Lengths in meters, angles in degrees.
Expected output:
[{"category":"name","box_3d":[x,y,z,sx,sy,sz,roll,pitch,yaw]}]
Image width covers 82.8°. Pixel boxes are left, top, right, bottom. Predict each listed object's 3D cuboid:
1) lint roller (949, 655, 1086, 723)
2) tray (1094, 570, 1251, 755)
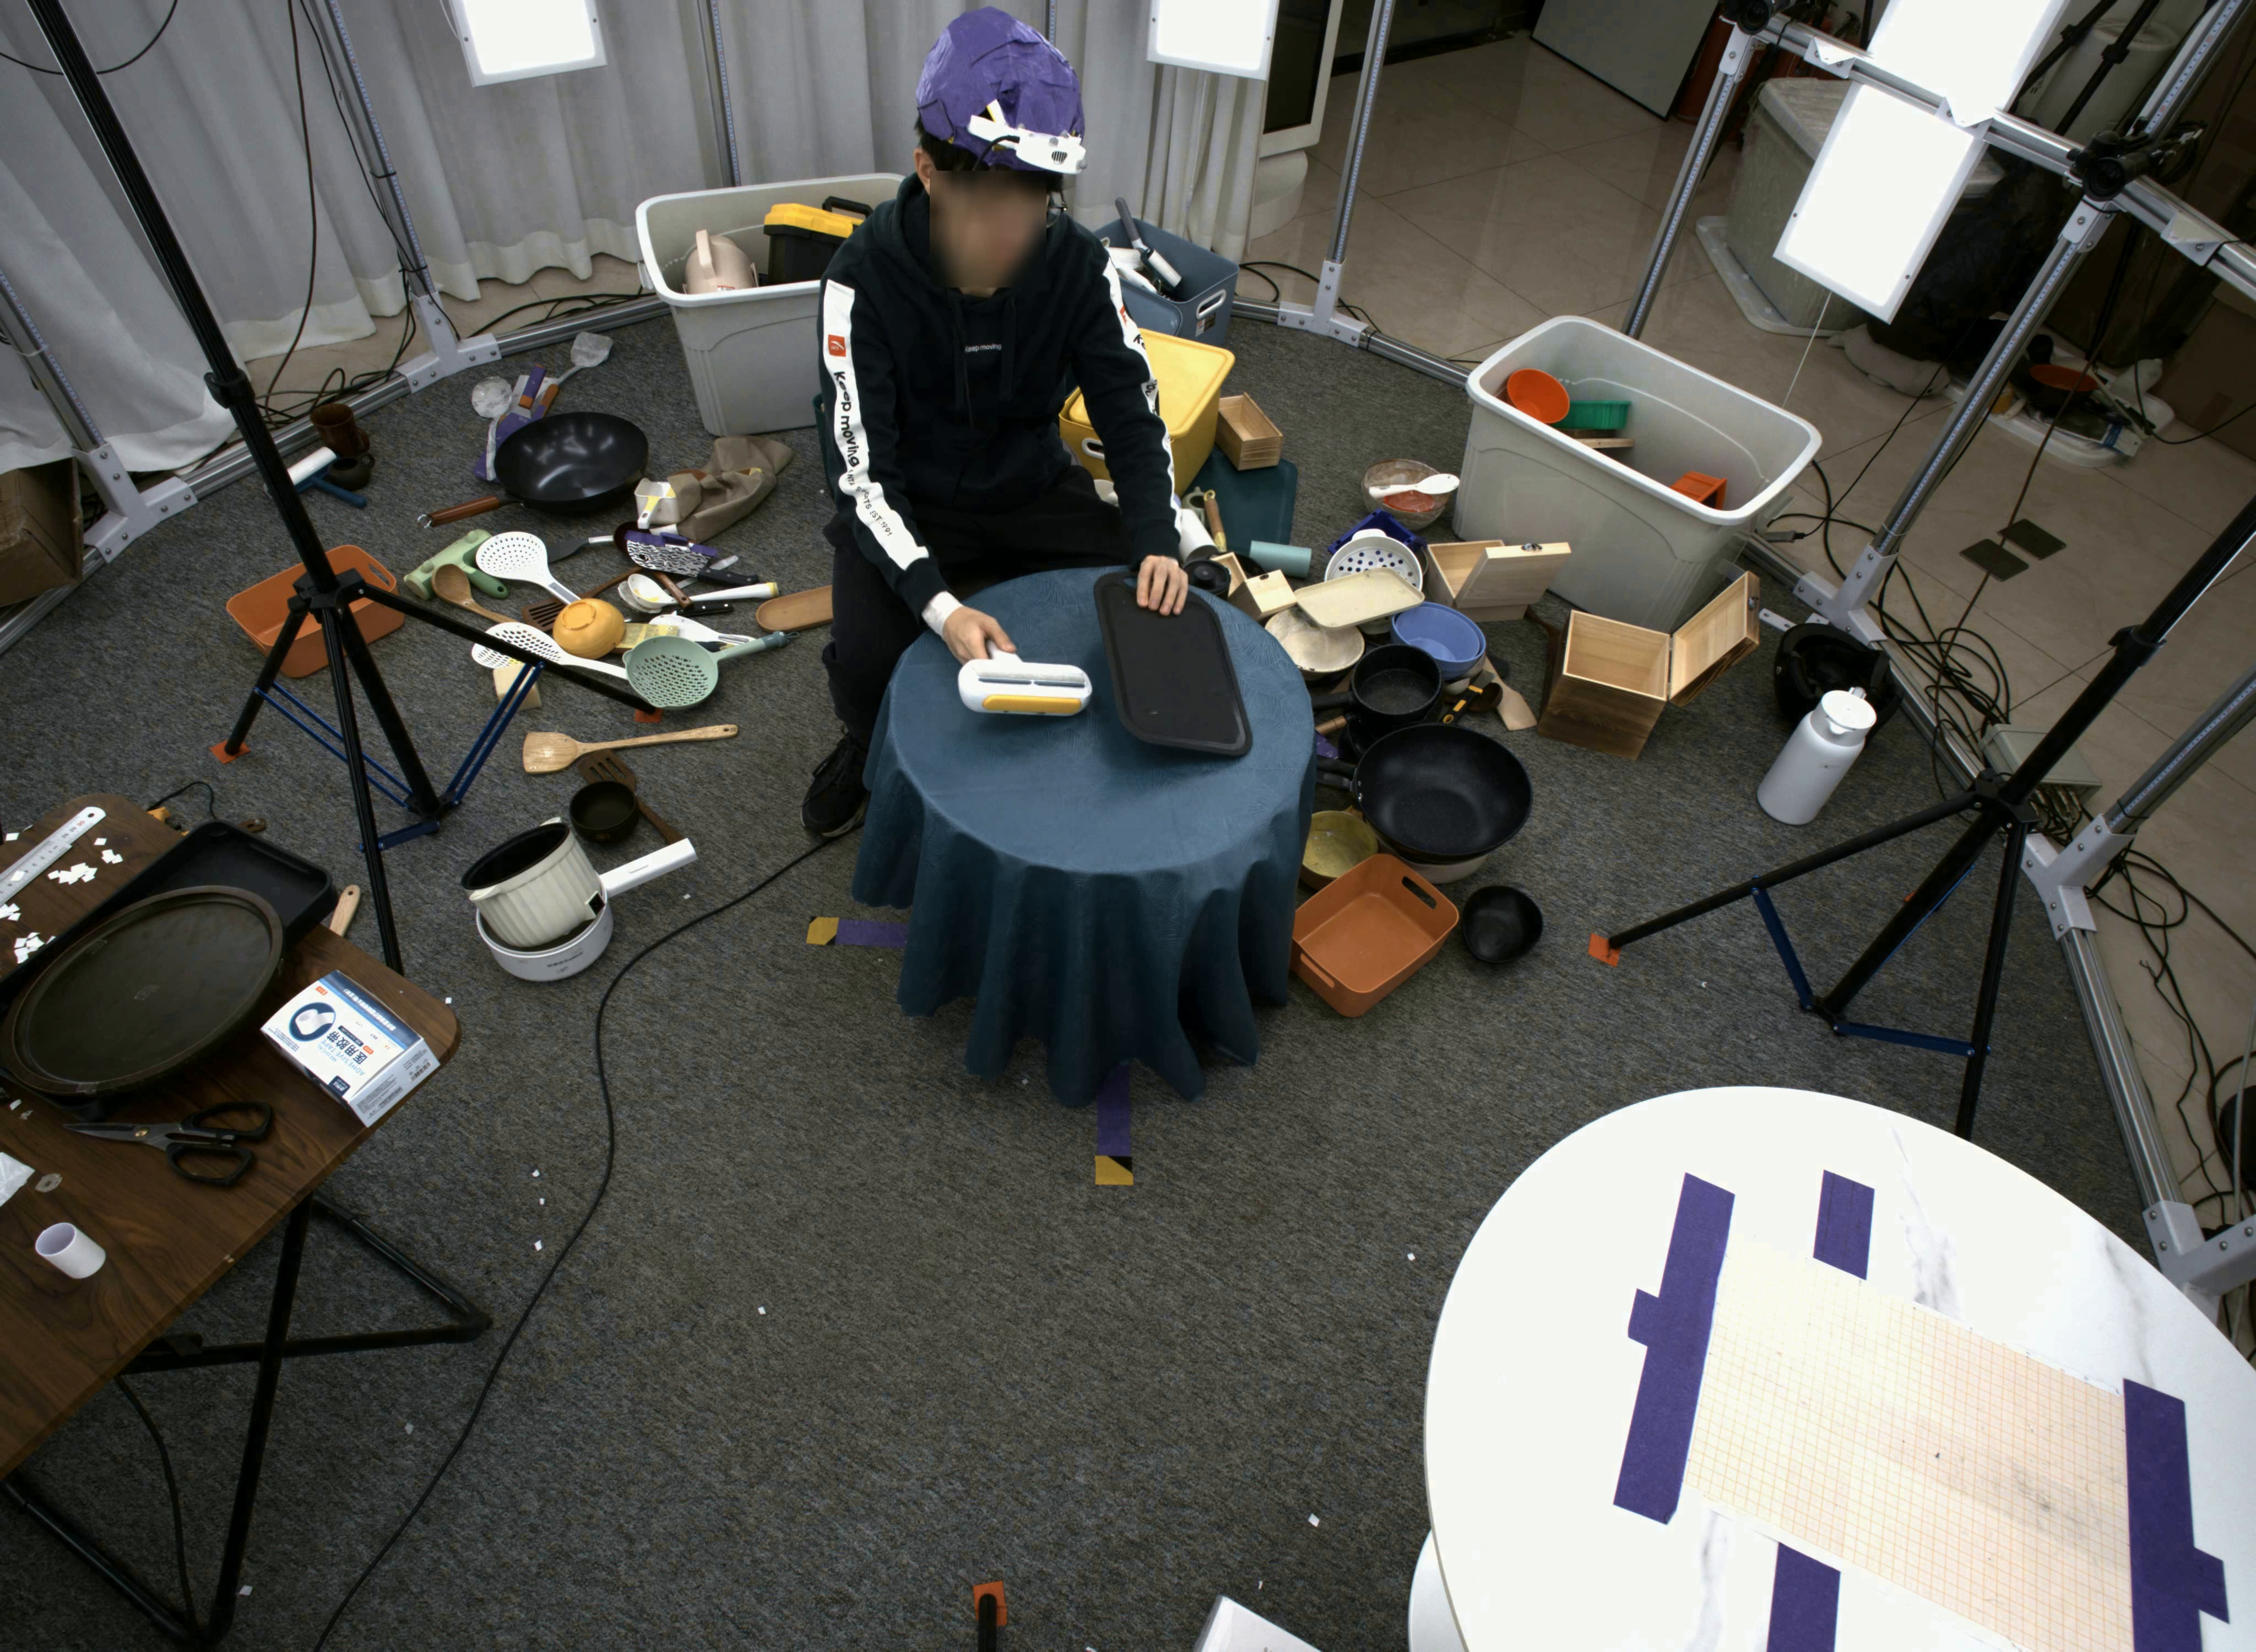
[{"category":"lint roller","box_3d":[-0.170,-0.209,1.806,0.192,0.073,0.197,3,30,-24]},{"category":"tray","box_3d":[0.060,-0.240,1.811,0.209,0.009,0.333,8,52,-25]}]
